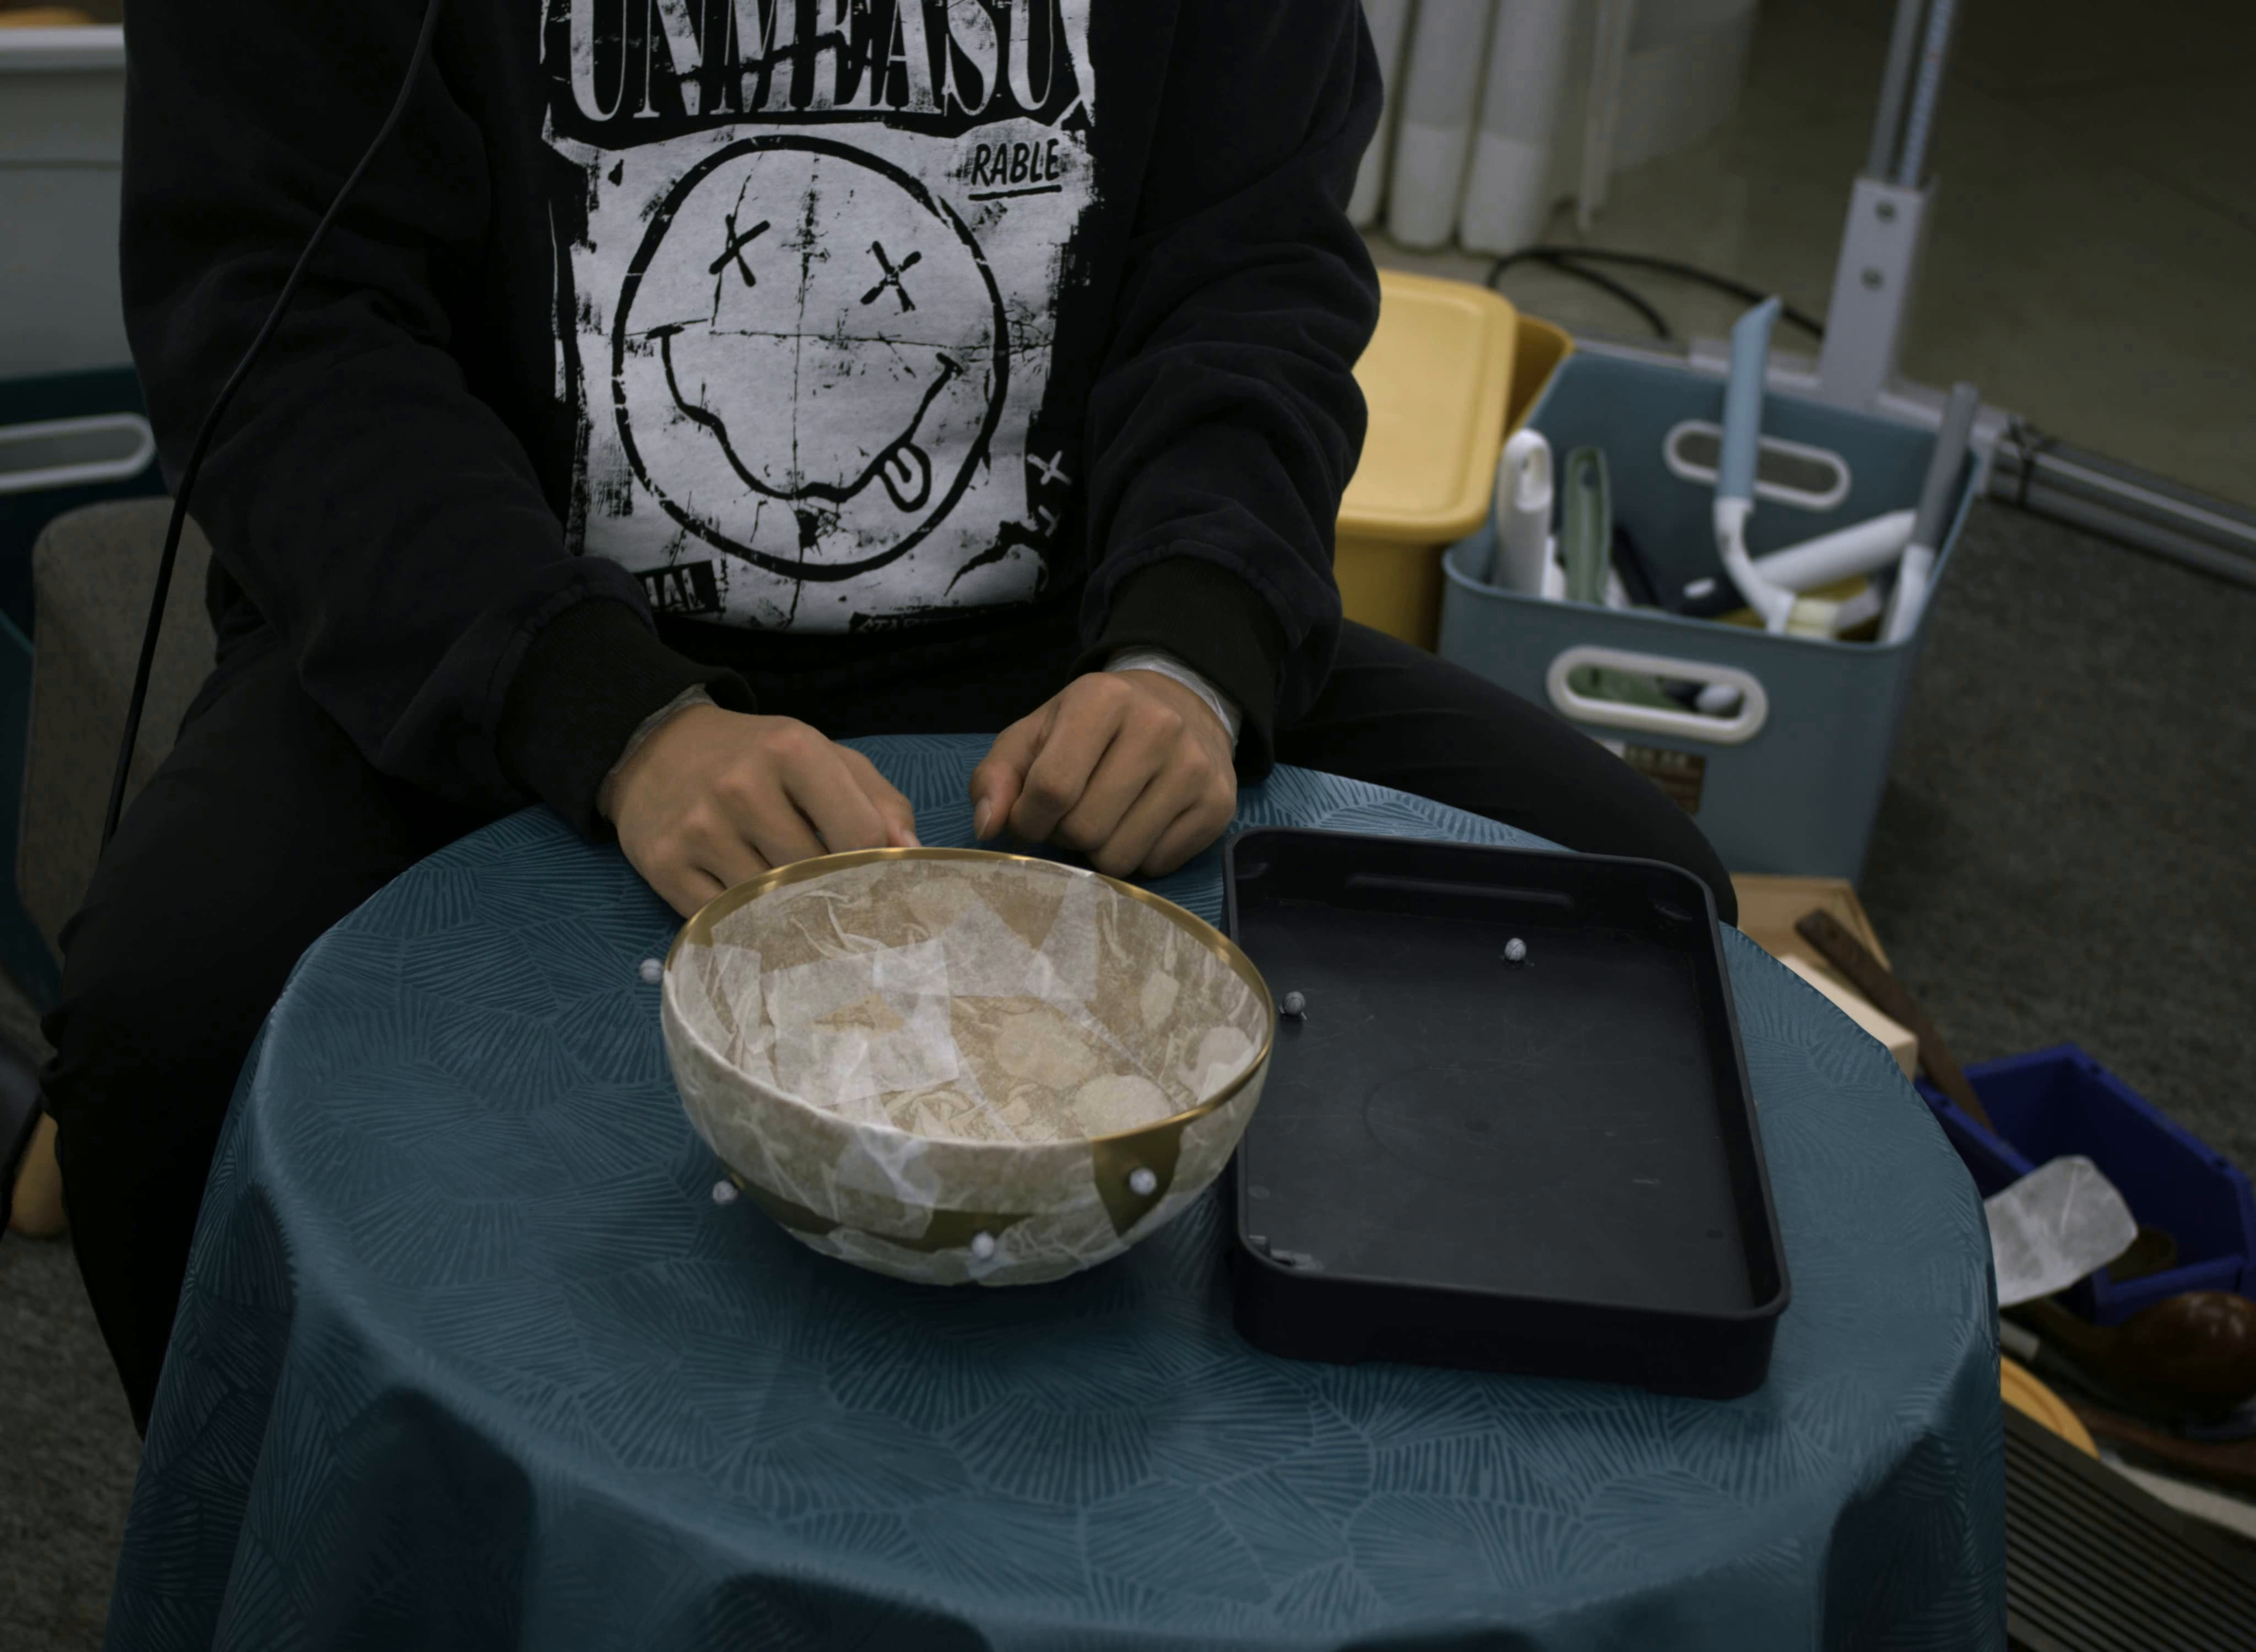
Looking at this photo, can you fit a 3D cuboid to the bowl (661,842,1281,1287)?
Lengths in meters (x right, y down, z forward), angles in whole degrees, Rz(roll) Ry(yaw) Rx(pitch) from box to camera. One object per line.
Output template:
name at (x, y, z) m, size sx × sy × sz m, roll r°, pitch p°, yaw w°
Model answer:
bowl at (-0.051, 0.090, 1.751) m, size 0.214 × 0.094 × 0.216 m, roll 4°, pitch 26°, yaw -2°

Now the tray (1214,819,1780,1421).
tray at (0.123, 0.096, 1.850) m, size 0.184 × 0.037 × 0.320 m, roll 7°, pitch 28°, yaw -1°
